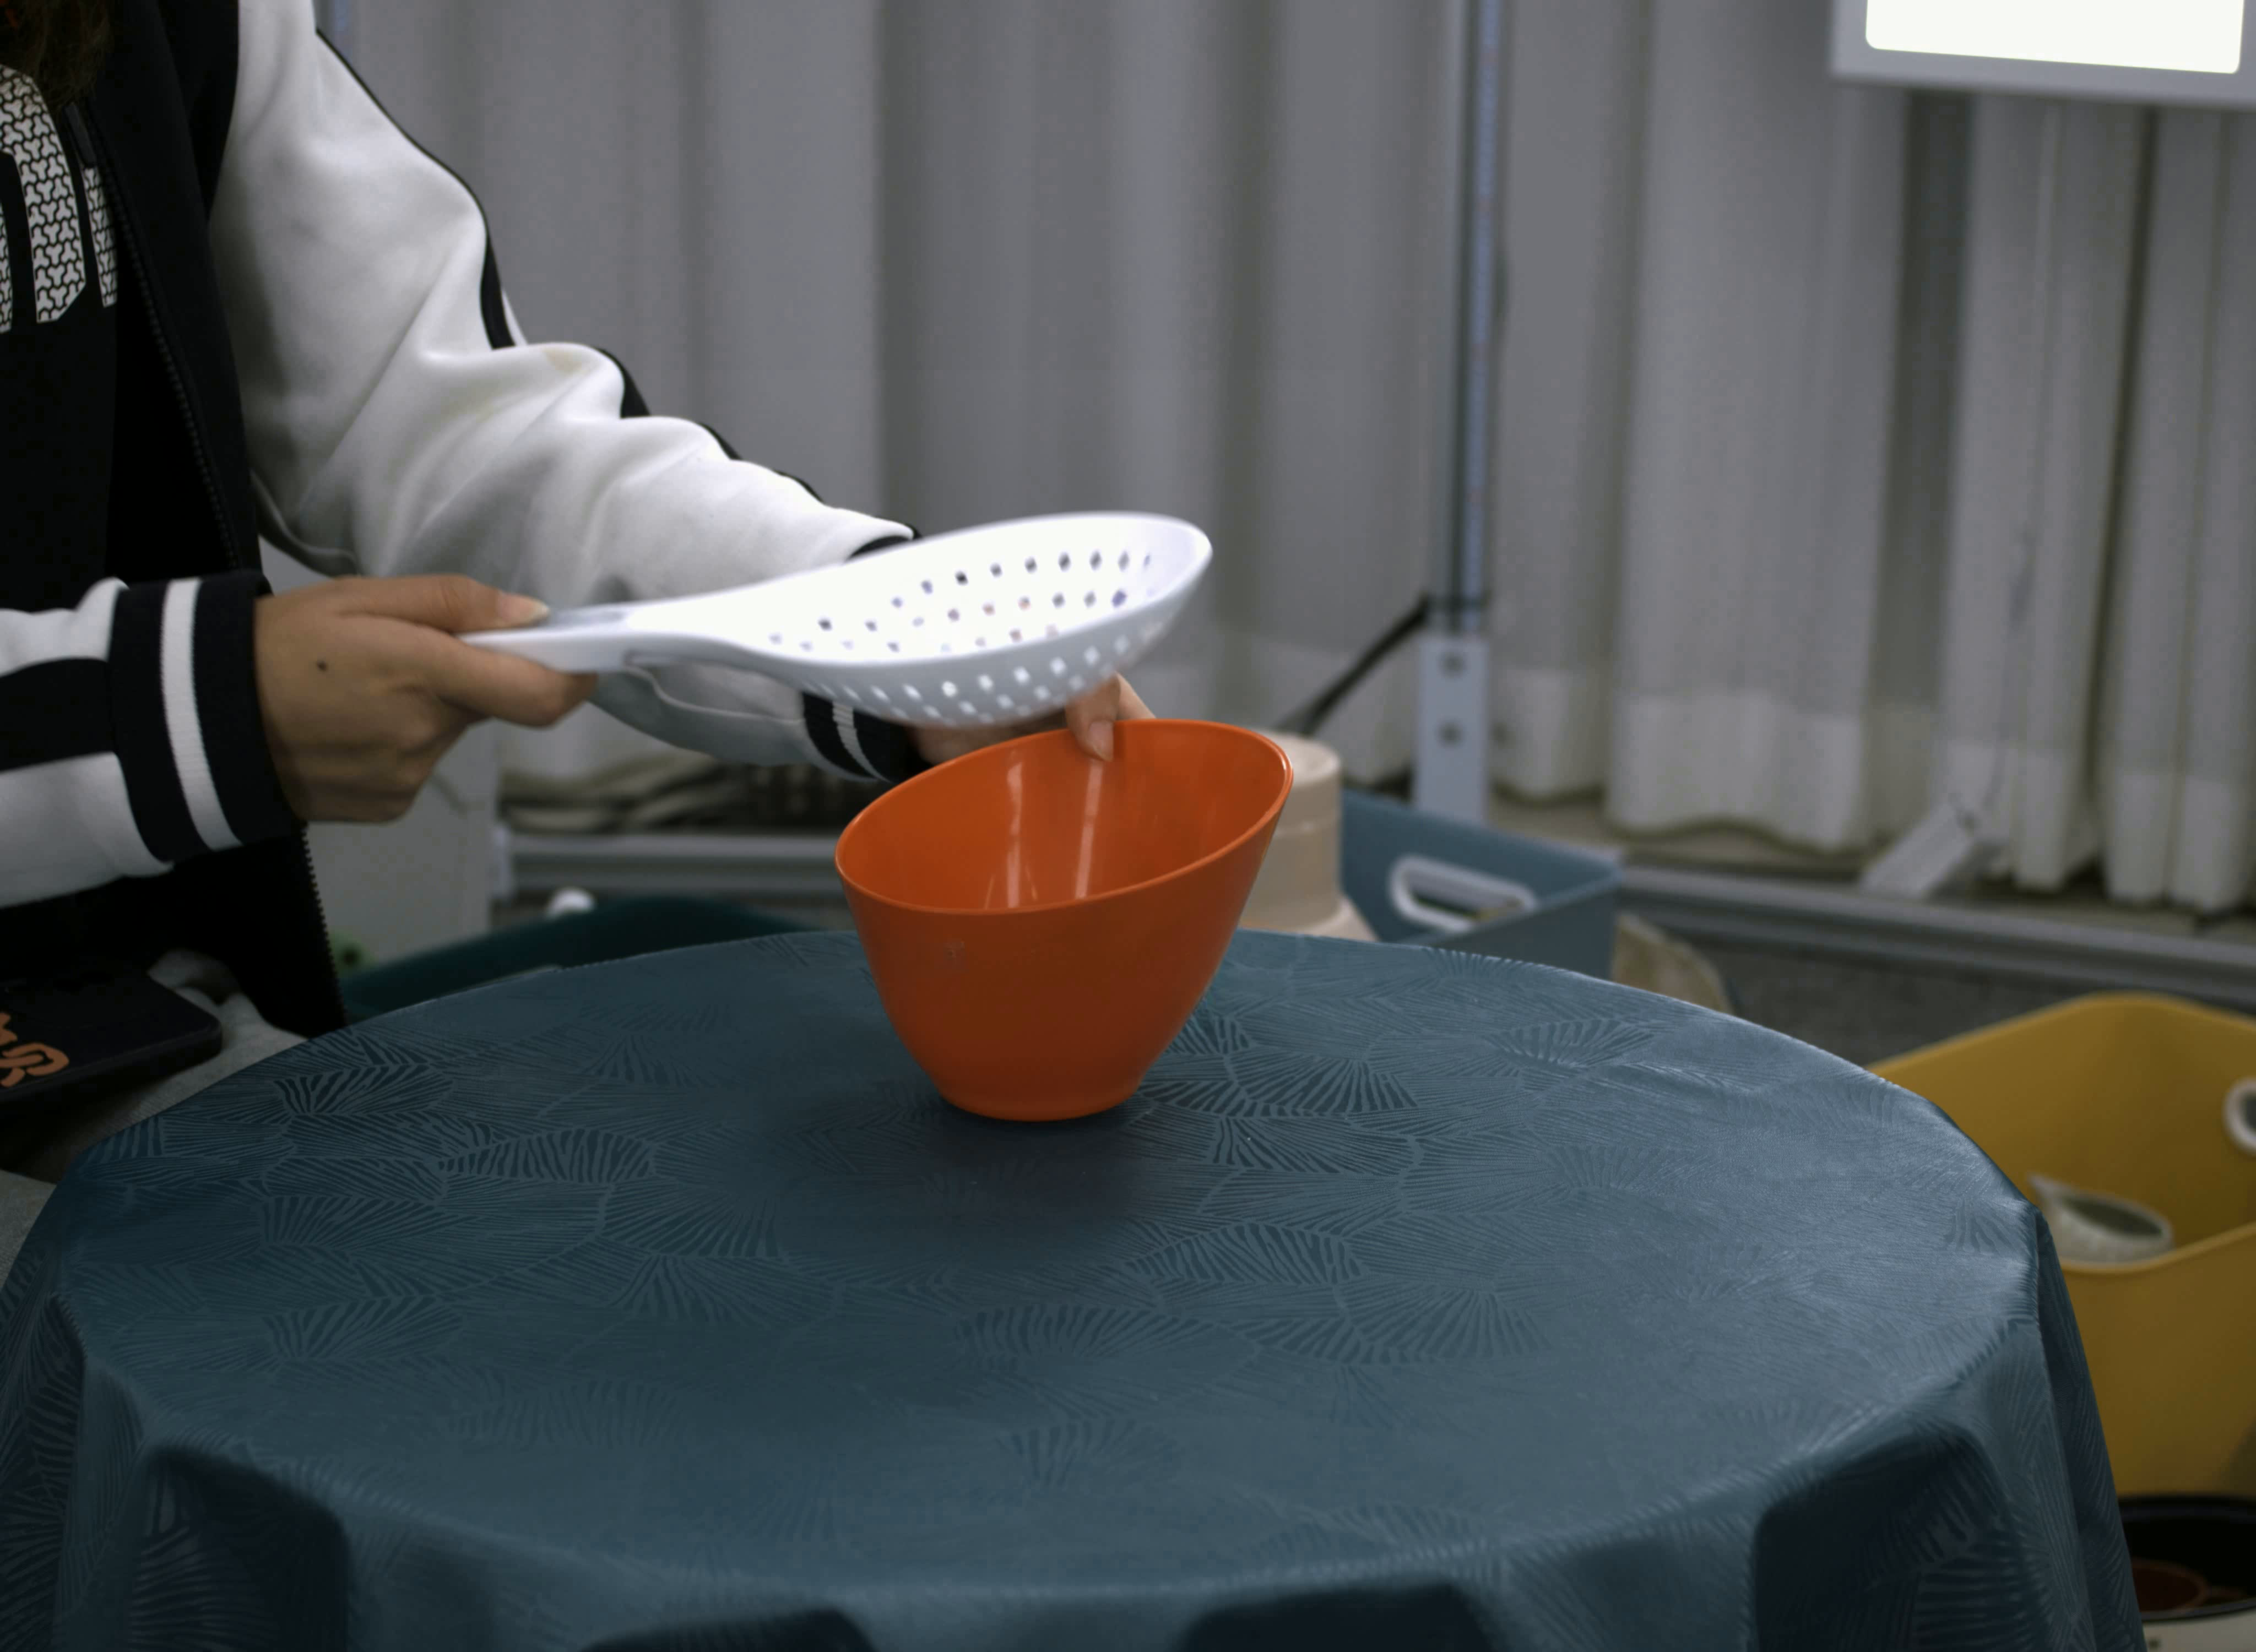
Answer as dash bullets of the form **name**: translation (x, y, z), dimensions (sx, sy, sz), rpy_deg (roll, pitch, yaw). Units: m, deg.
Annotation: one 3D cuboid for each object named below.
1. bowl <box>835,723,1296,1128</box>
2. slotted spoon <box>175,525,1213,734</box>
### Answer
- **bowl**: translation (-0.019, 0.035, 1.686), dimensions (0.147, 0.105, 0.147), rpy_deg (-1, 22, 1)
- **slotted spoon**: translation (-0.139, -0.058, 1.604), dimensions (0.346, 0.046, 0.136), rpy_deg (2, 21, 21)
